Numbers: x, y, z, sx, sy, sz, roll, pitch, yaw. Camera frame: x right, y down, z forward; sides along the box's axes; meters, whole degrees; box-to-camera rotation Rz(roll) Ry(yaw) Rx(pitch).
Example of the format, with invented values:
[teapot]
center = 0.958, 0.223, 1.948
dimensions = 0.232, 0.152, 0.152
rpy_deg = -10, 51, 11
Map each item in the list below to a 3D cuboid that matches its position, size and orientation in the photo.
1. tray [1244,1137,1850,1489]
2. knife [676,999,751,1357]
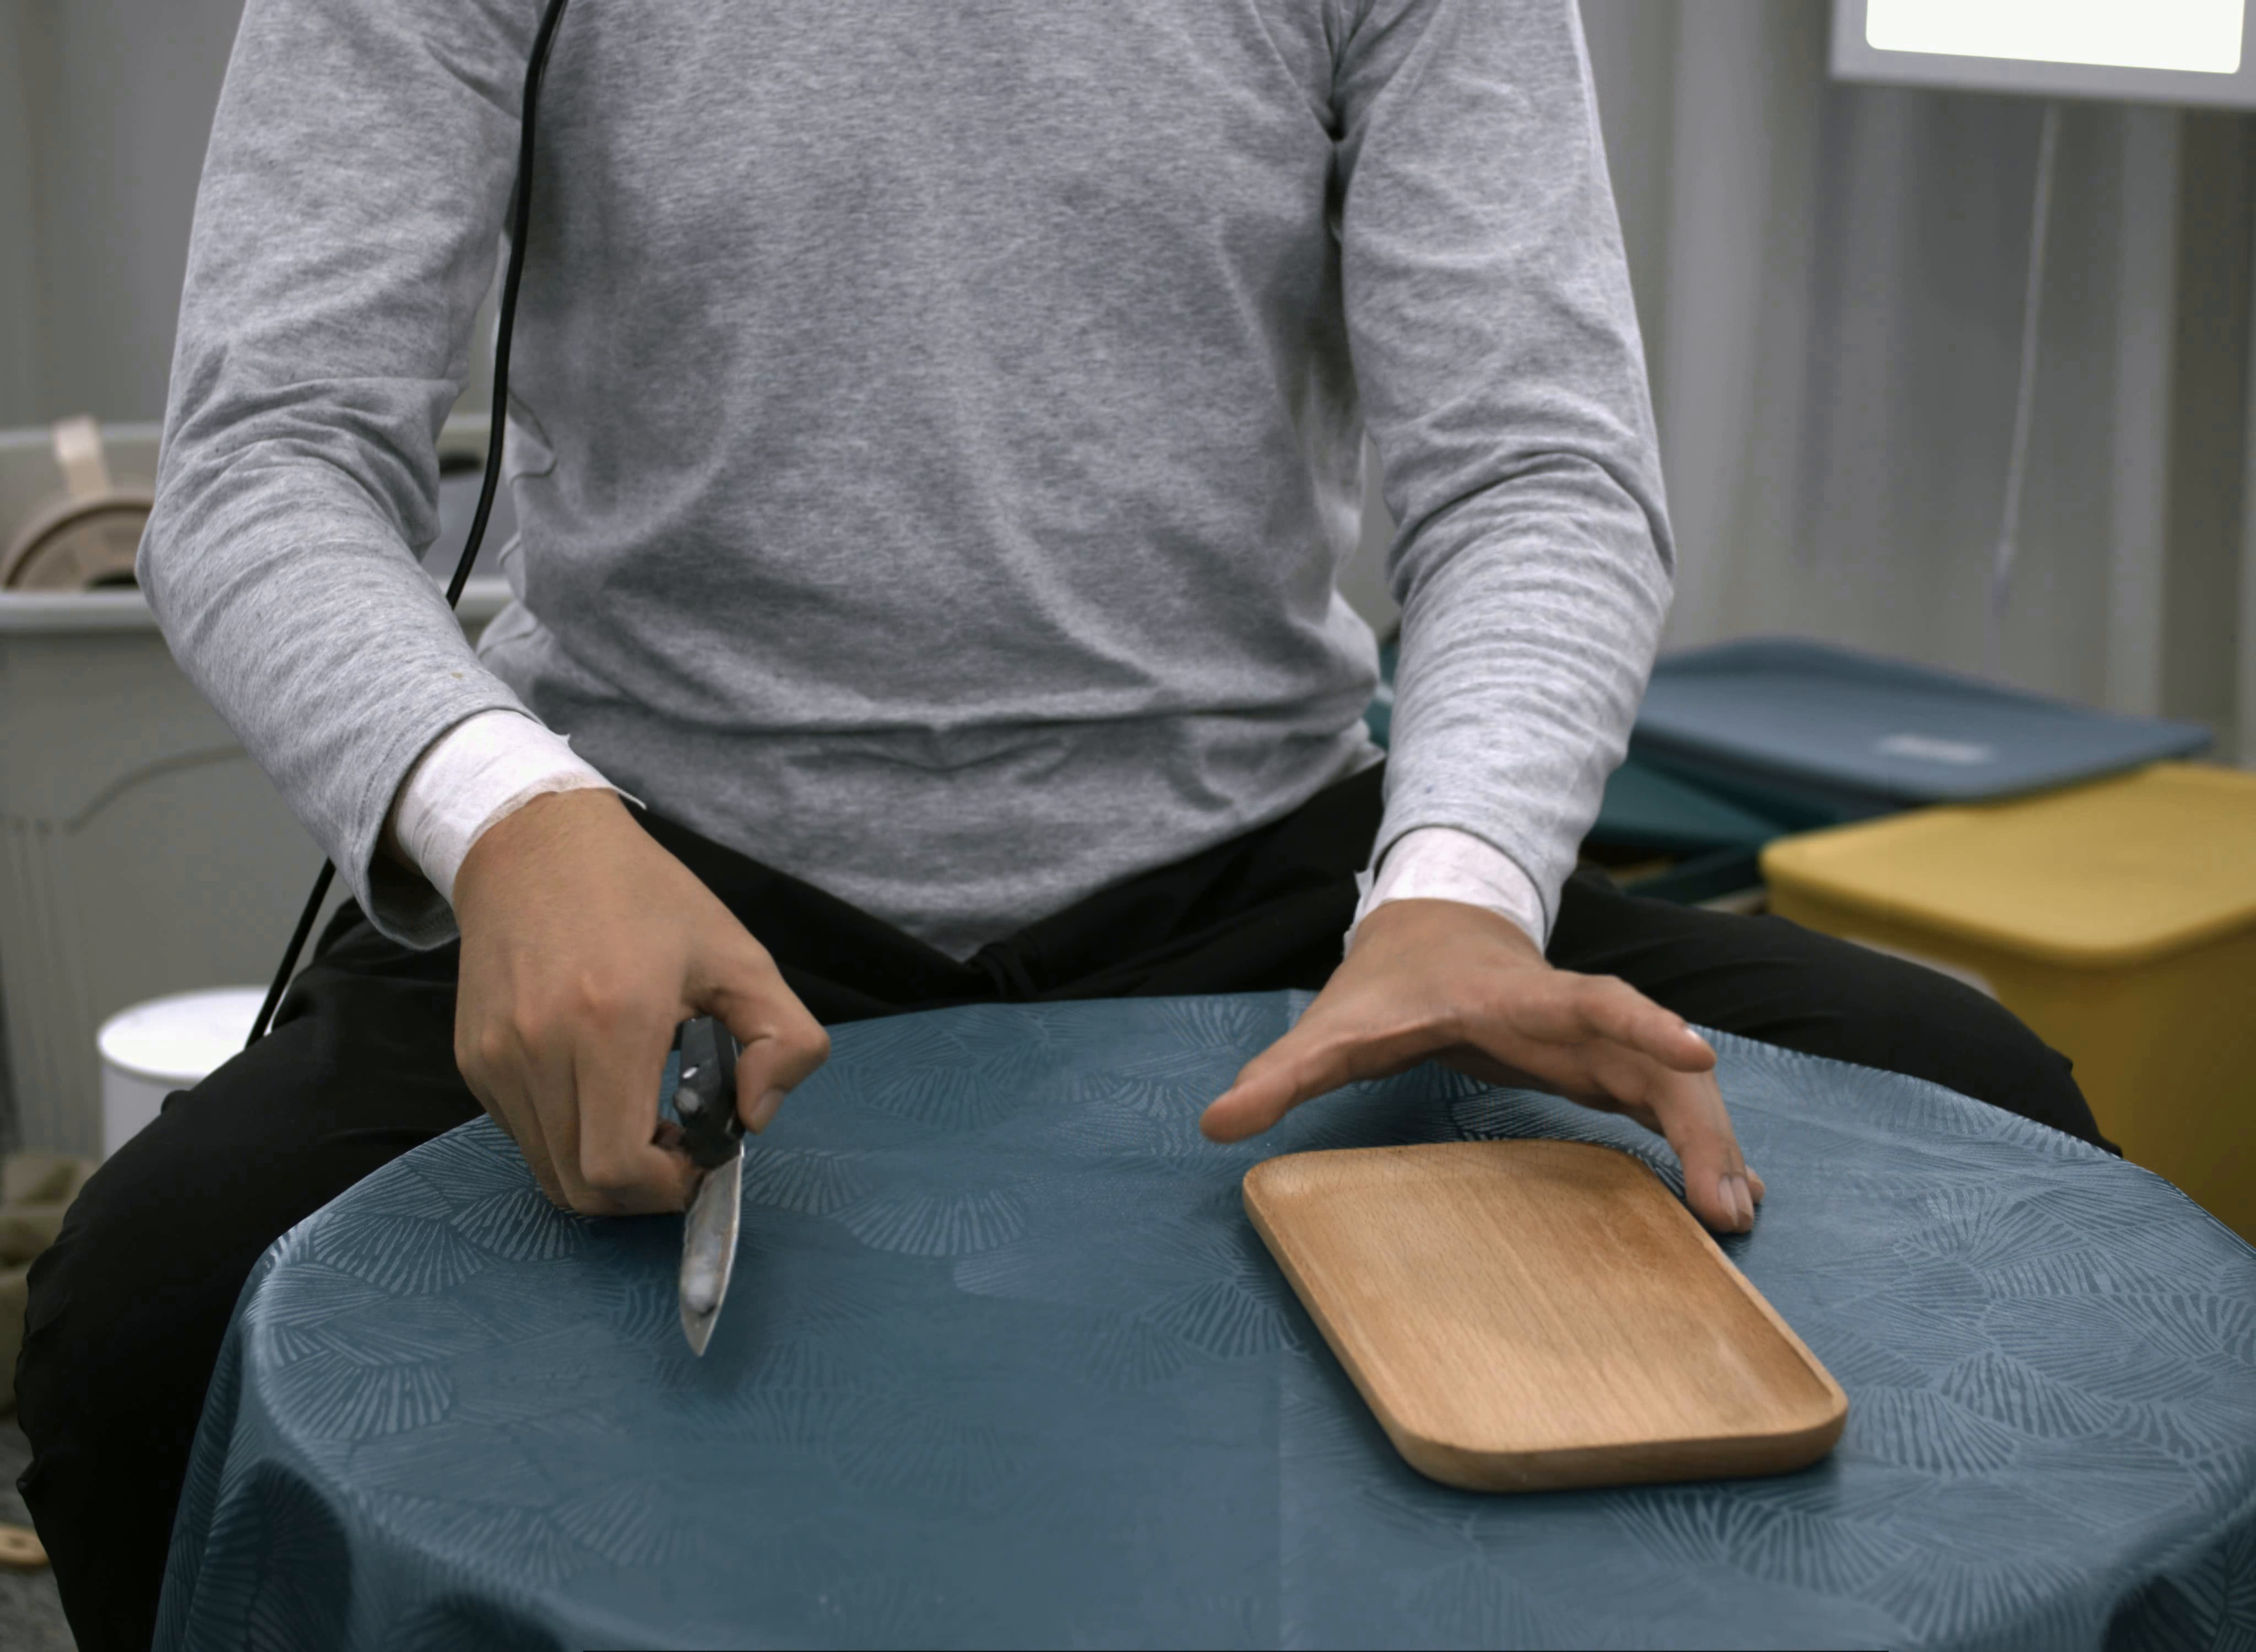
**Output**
[tray]
center = 0.115, 0.136, 1.512
dimensions = 0.130, 0.023, 0.248
rpy_deg = 1, 14, -10
[knife]
center = -0.122, 0.104, 1.552
dimensions = 0.024, 0.016, 0.236
rpy_deg = -36, 19, 10
